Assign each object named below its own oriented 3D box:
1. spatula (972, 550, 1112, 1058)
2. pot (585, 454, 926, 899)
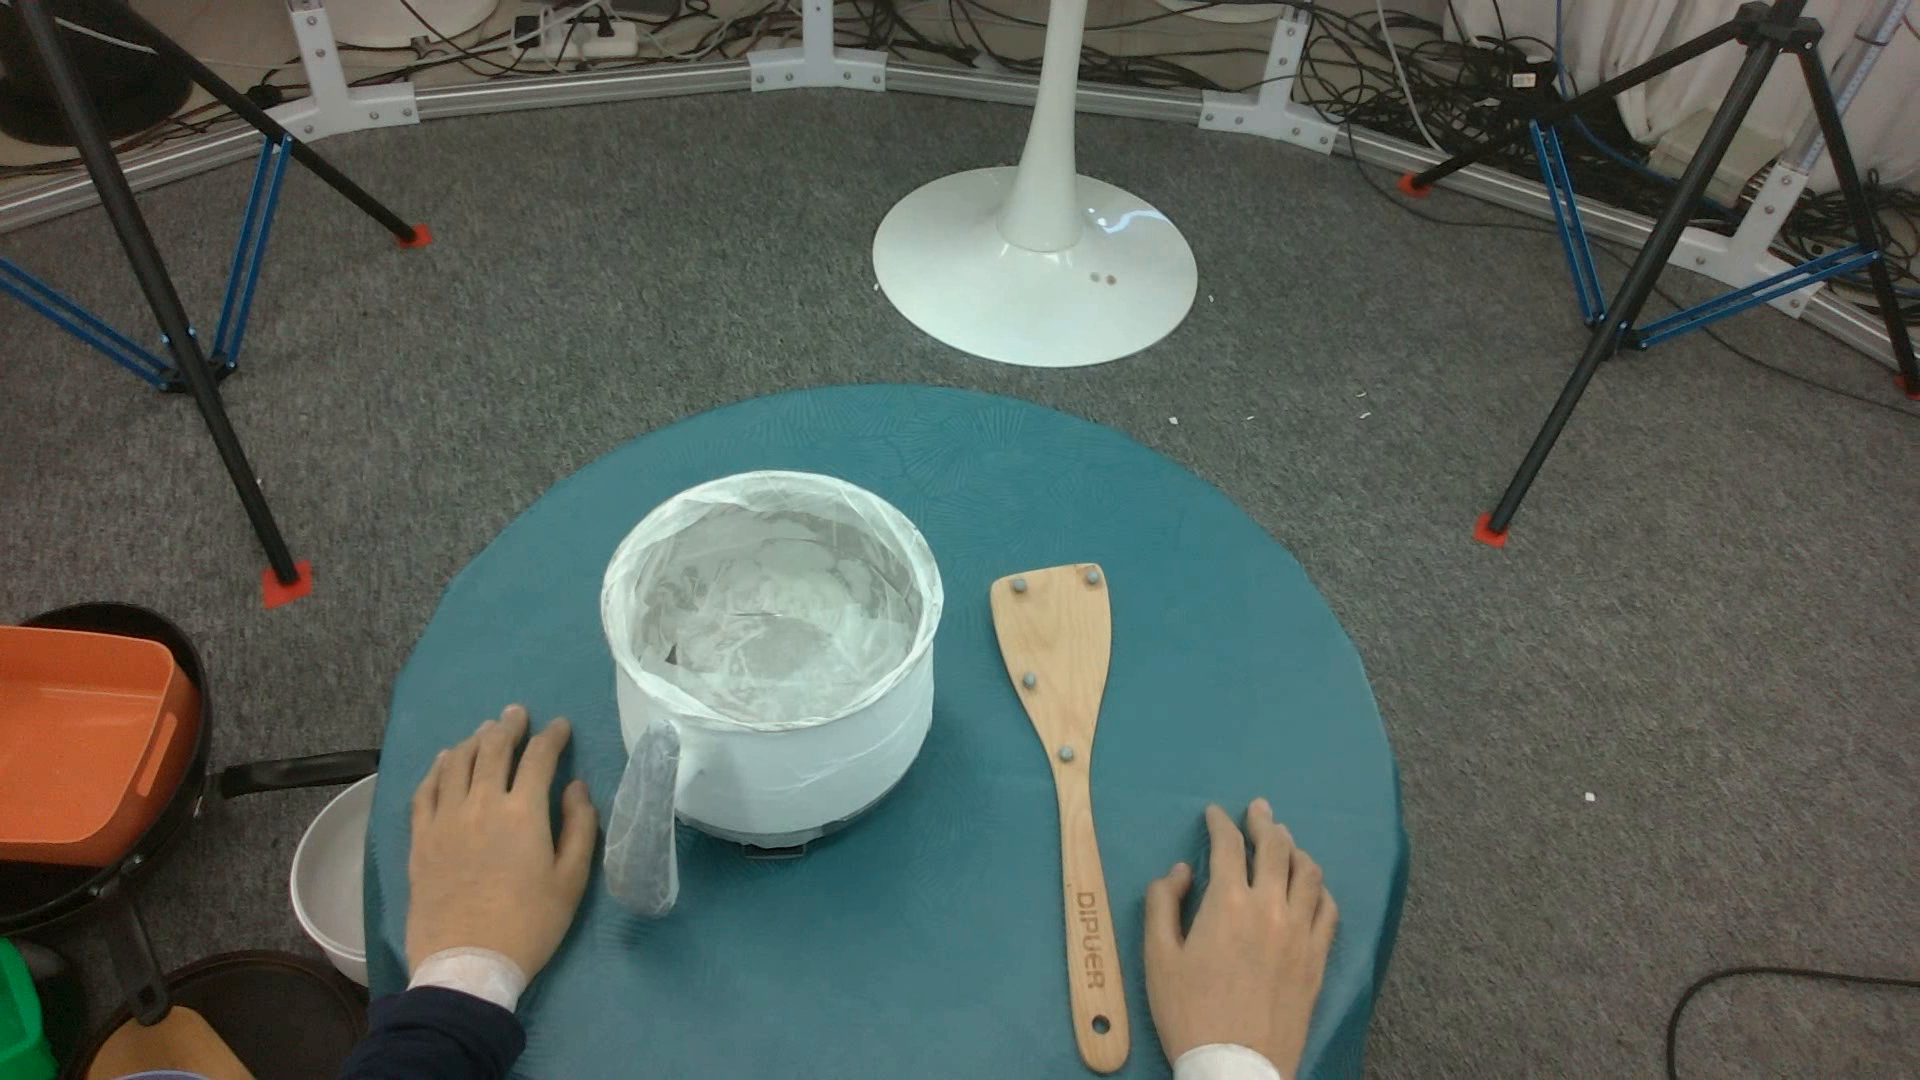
[{"bbox_3d":[0.055,0.135,0.800,0.080,0.016,0.329,0,49,-6],"label":"spatula"},{"bbox_3d":[-0.122,0.077,0.746,0.178,0.136,0.235,21,48,13],"label":"pot"}]
